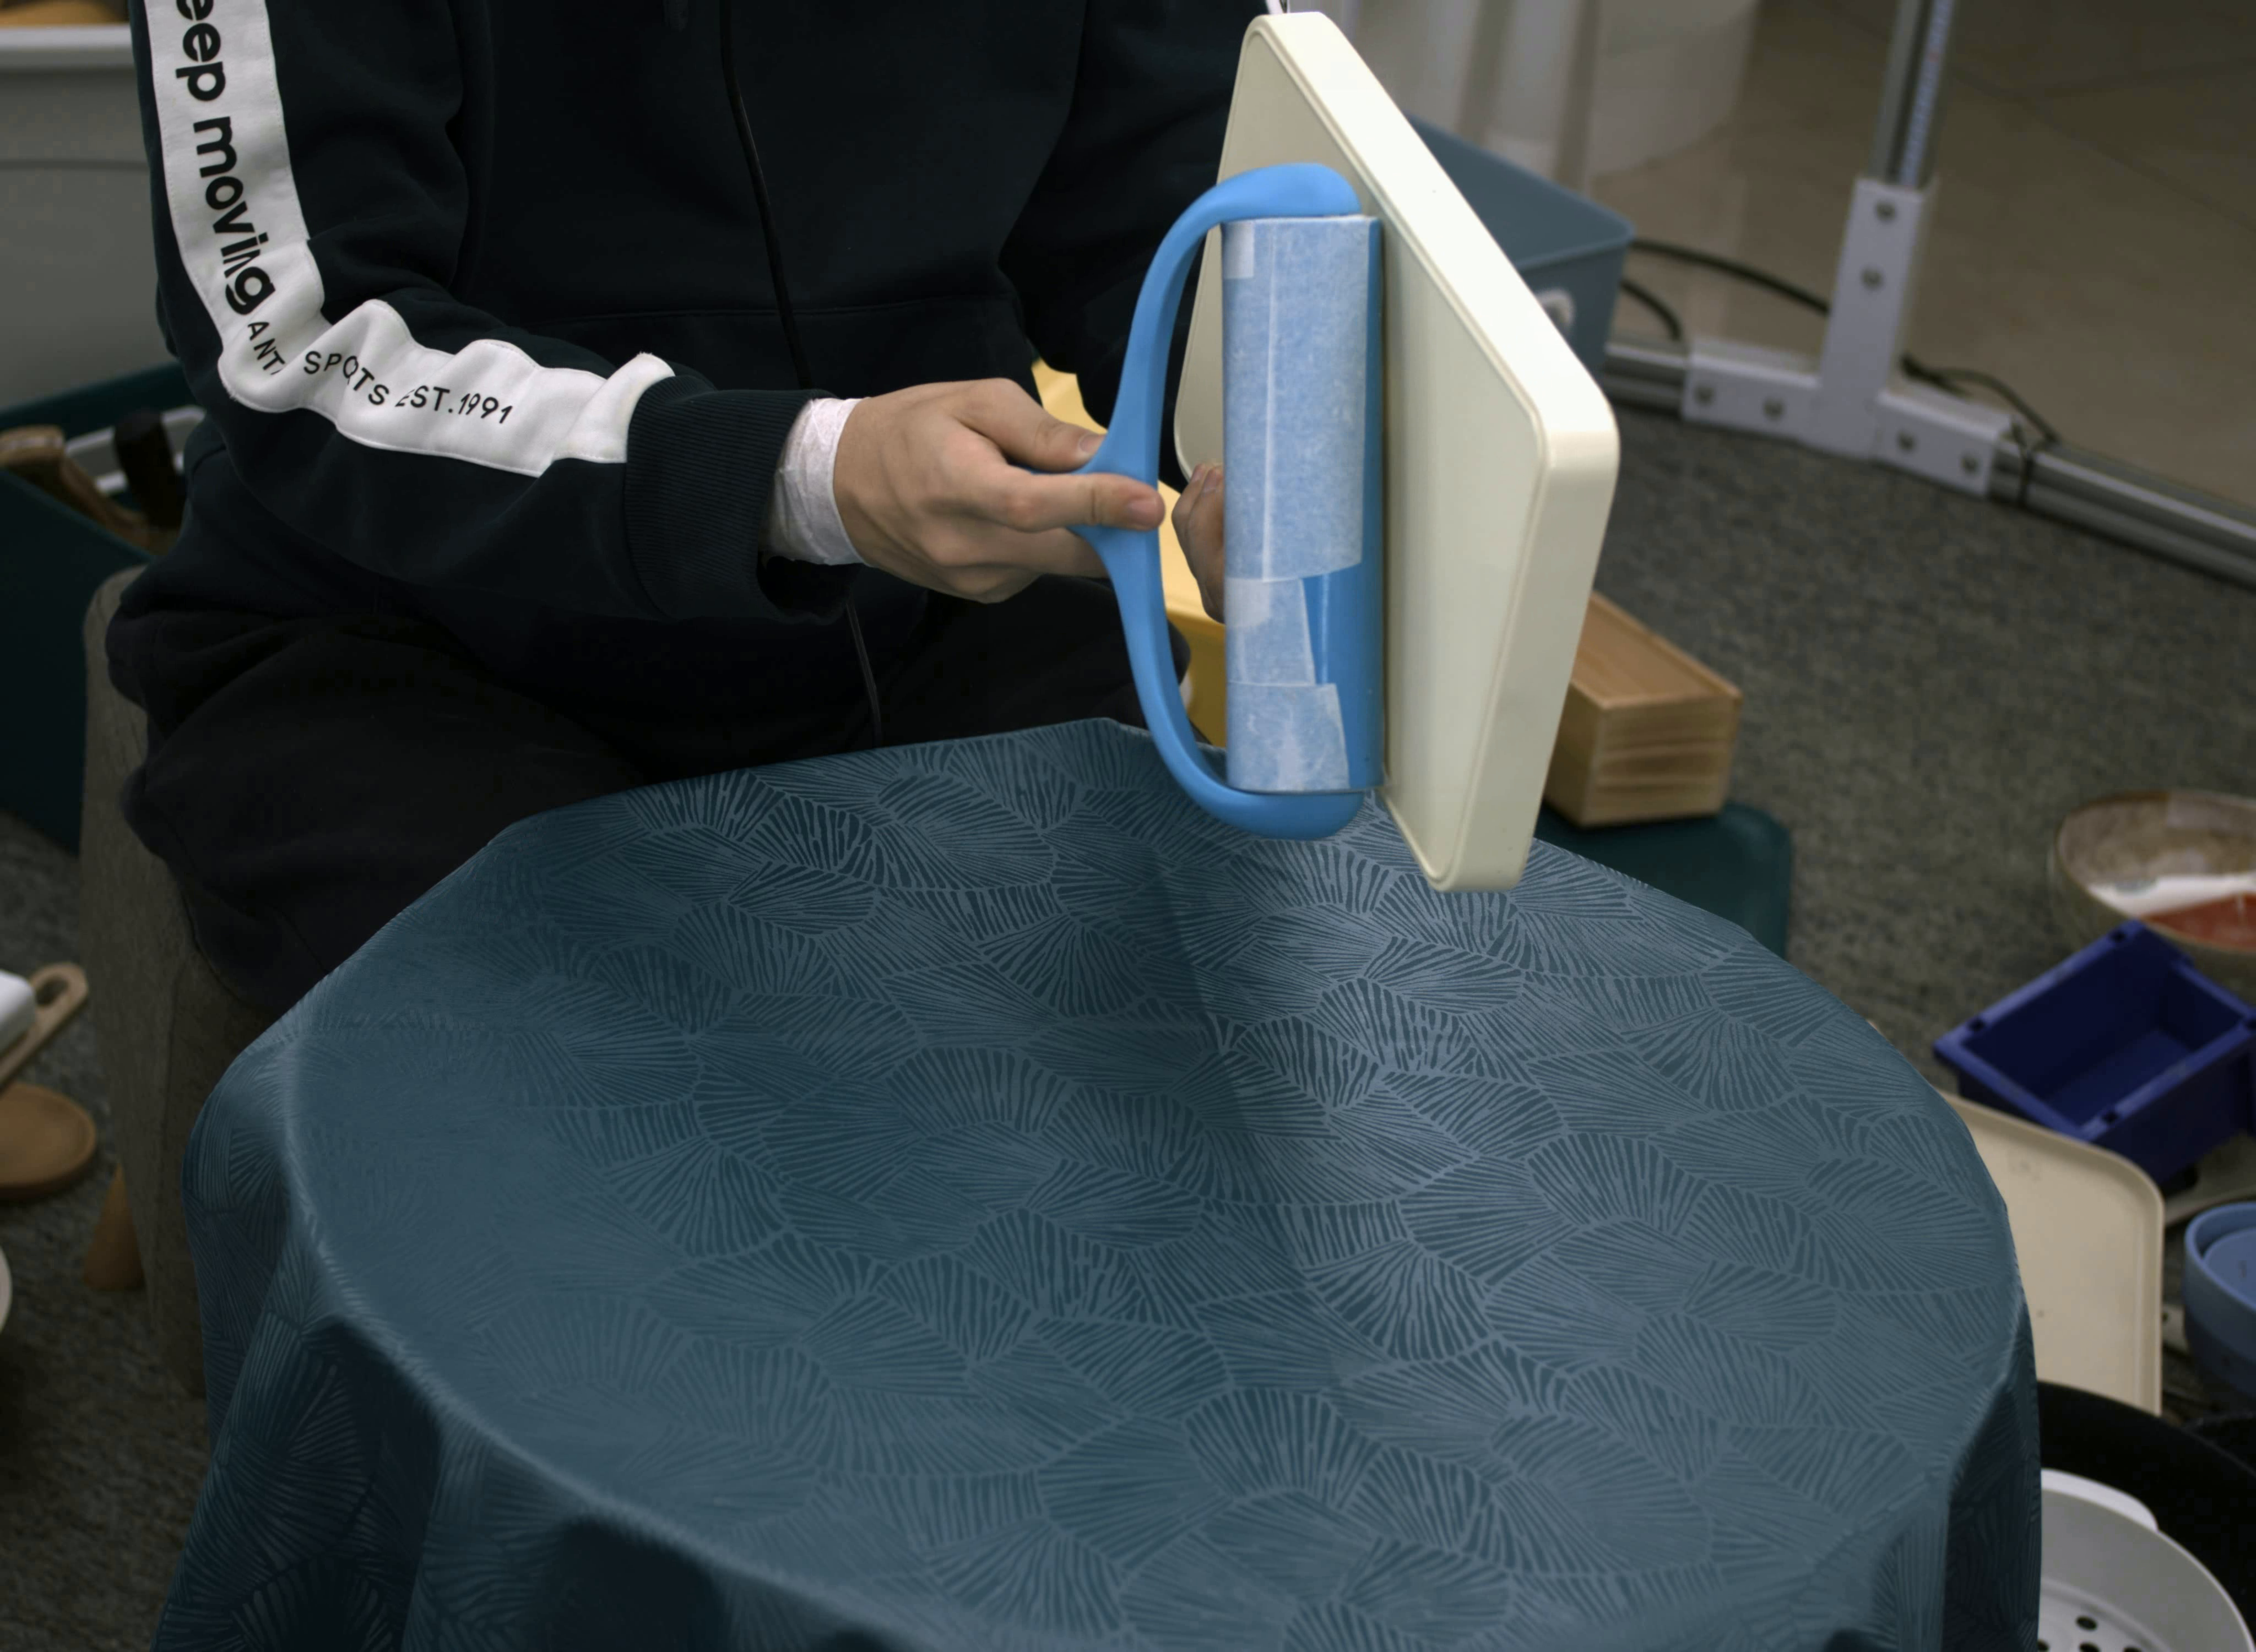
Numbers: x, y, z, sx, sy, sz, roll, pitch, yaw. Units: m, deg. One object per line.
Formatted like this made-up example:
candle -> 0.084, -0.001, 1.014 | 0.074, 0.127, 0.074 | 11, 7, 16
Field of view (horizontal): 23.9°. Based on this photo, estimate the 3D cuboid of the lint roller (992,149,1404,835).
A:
lint roller -> 0.012, -0.110, 1.818 | 0.181, 0.229, 0.067 | -2, 4, 34

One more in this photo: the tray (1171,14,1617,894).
tray -> 0.084, -0.132, 1.827 | 0.027, 0.191, 0.303 | -3, 35, -19
